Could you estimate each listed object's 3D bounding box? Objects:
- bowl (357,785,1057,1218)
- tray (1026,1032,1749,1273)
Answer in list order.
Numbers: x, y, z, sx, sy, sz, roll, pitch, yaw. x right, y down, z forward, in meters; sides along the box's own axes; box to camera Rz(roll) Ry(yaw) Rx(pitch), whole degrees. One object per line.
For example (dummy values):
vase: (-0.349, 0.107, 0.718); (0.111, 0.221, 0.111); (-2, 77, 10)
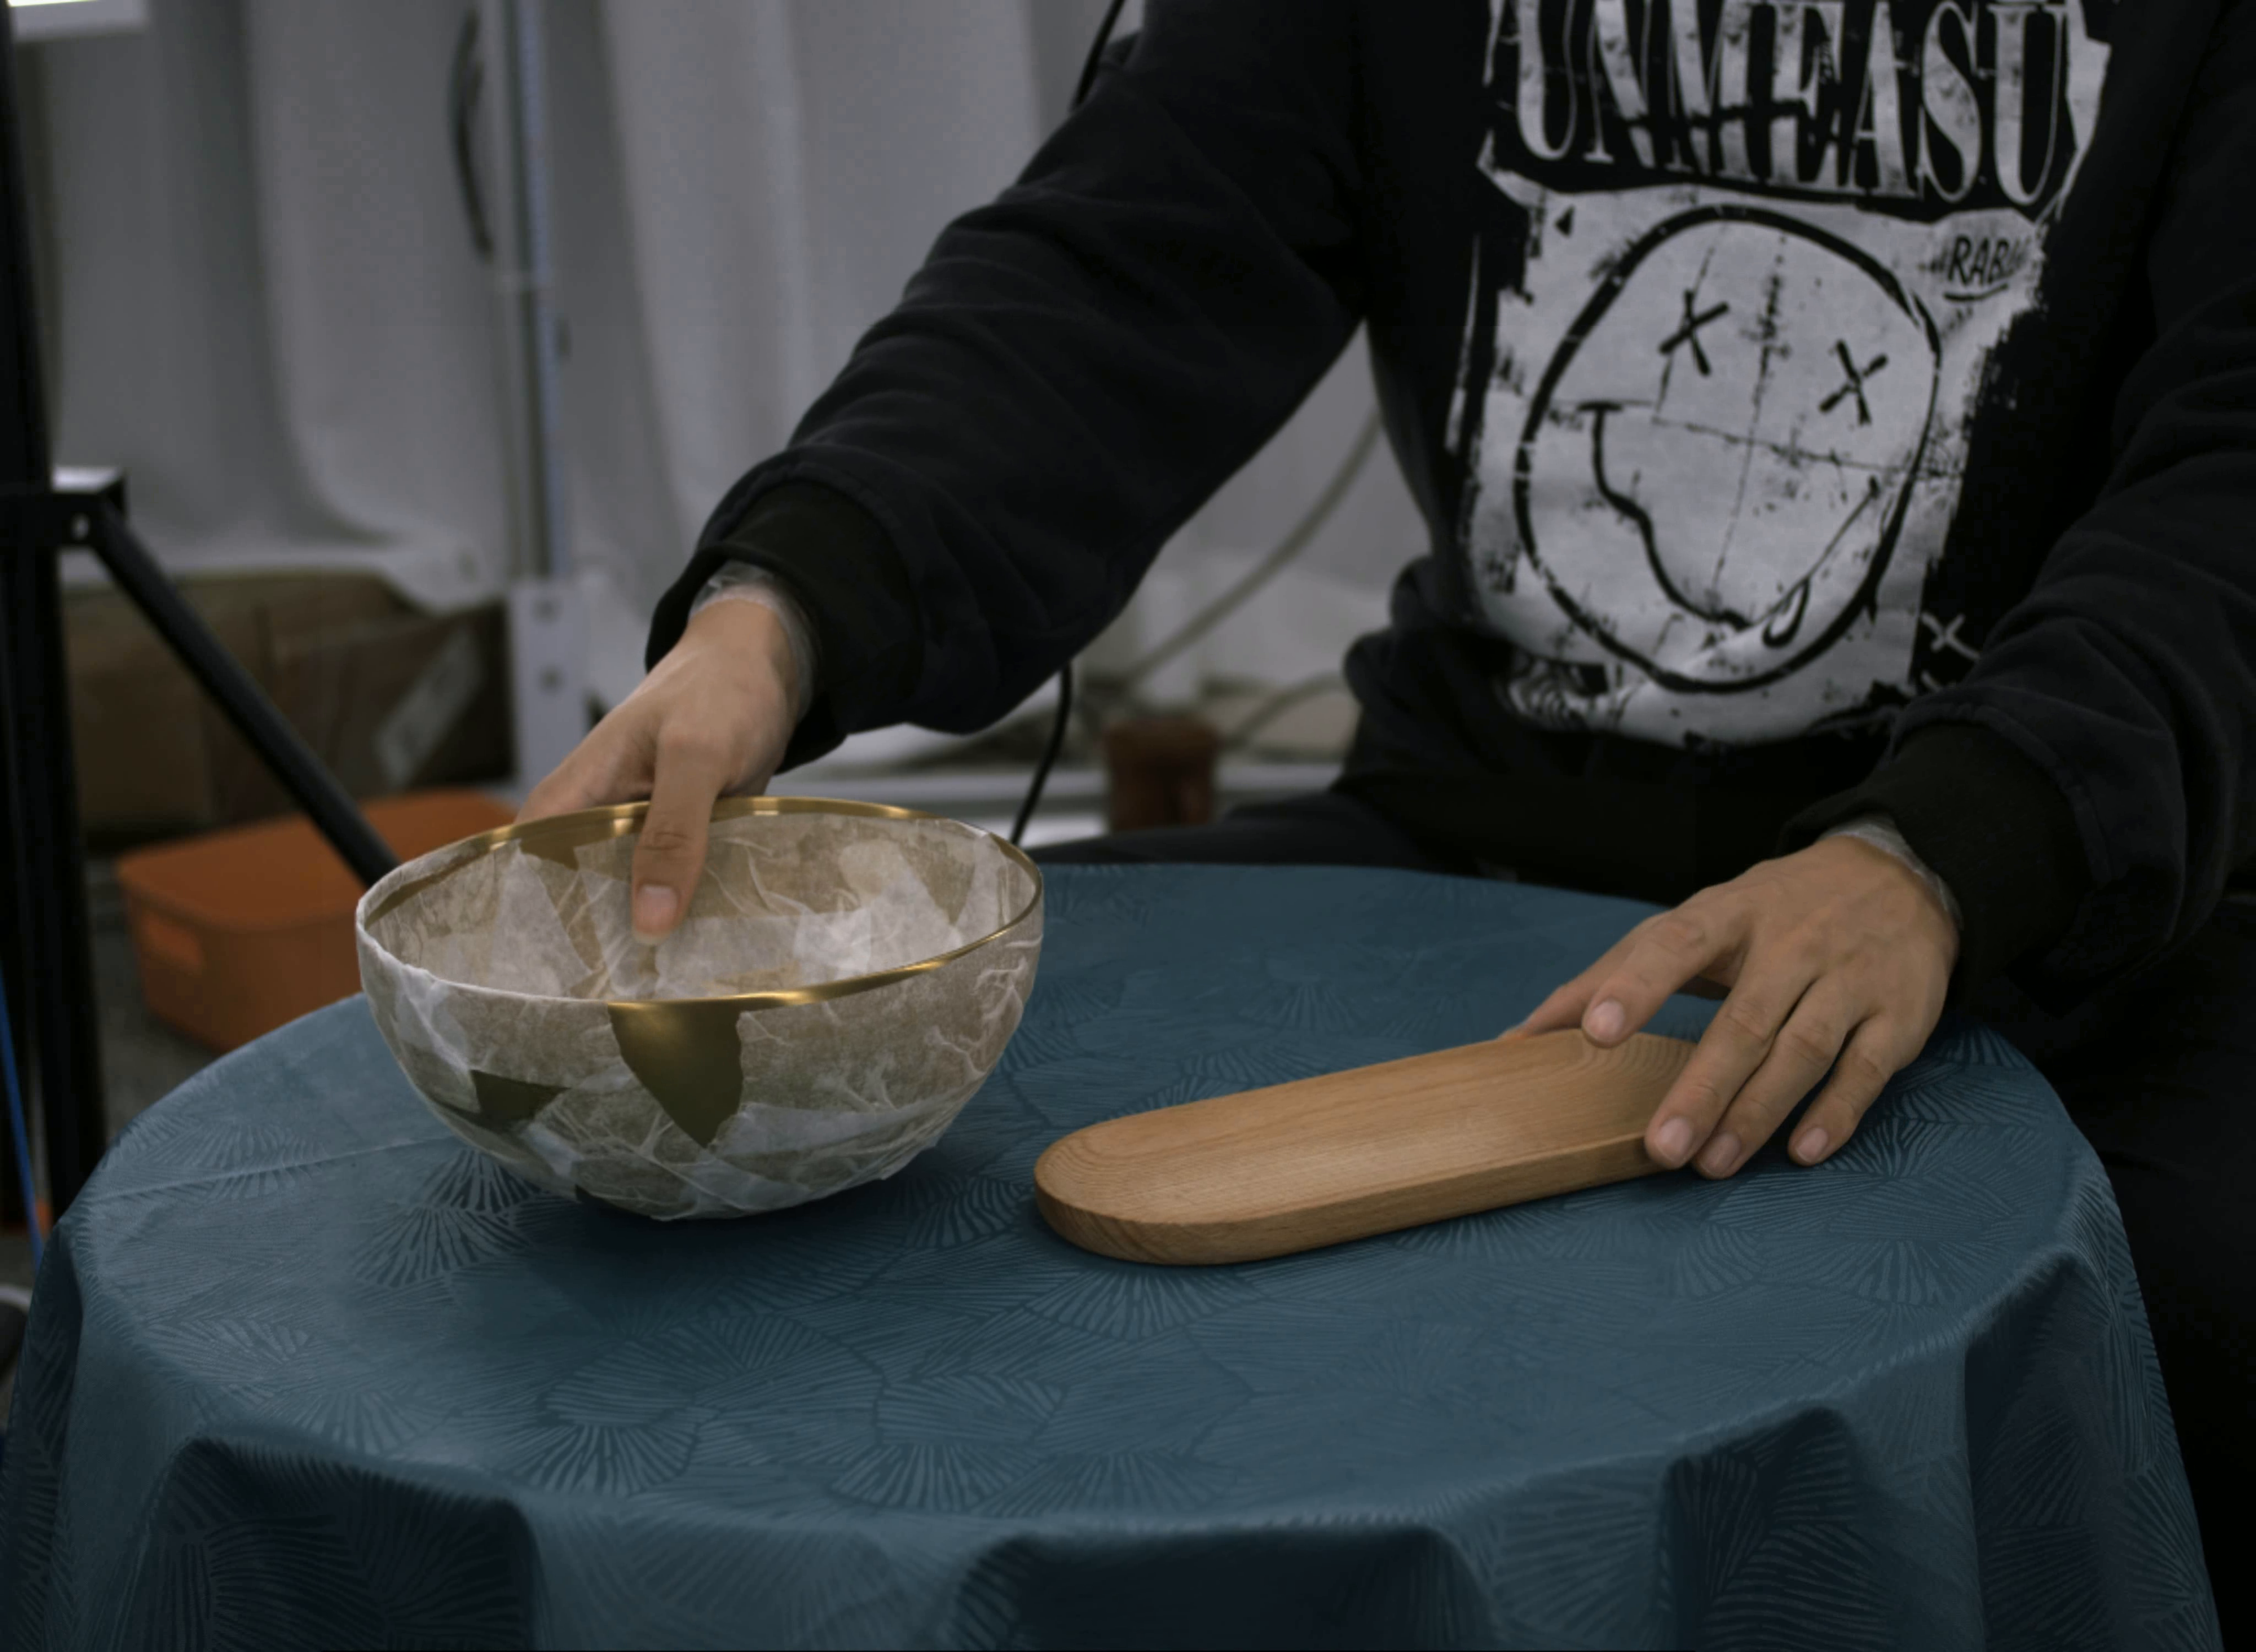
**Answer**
bowl: (-0.119, 0.061, 1.573); (0.213, 0.094, 0.216); (-3, 16, 0)
tray: (0.079, 0.096, 1.560); (0.226, 0.020, 0.104); (-12, 16, -25)
